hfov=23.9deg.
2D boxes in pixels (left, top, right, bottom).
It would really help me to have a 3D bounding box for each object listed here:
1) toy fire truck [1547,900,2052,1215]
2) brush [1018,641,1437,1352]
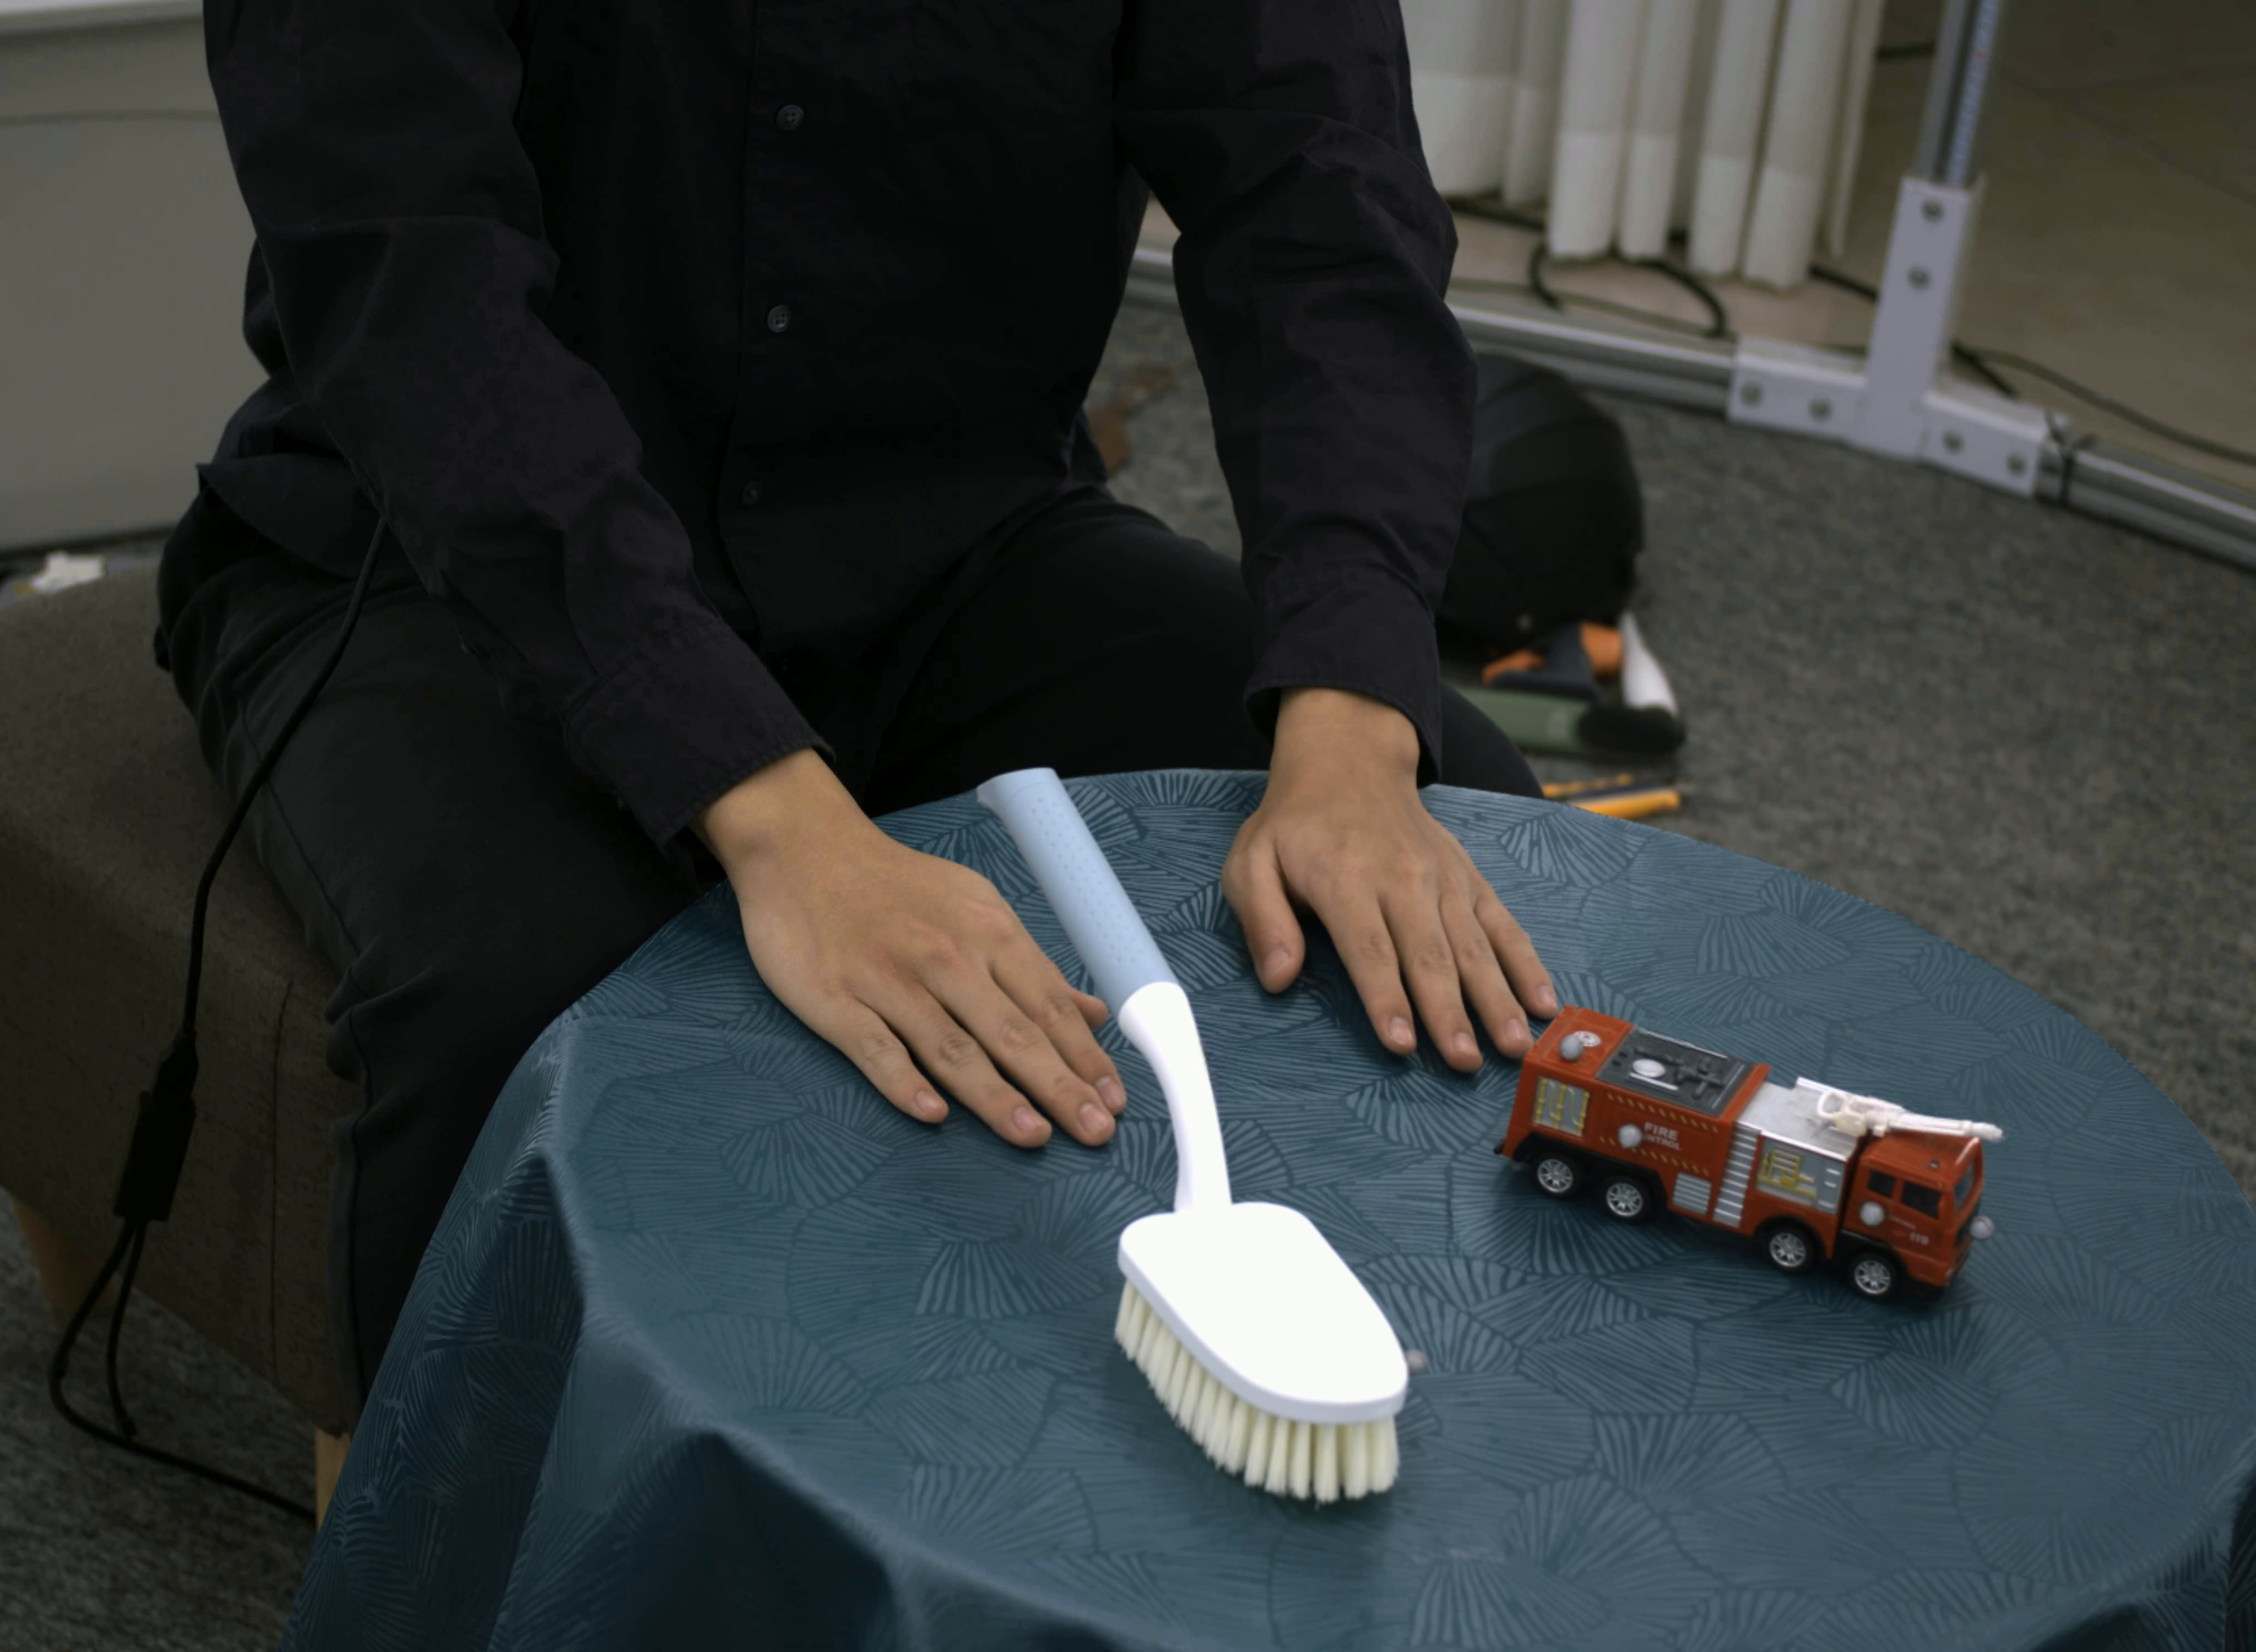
[{"bbox_3d":[0.230,0.077,1.823,0.168,0.070,0.054,15,27,19],"label":"toy fire truck"},{"bbox_3d":[0.026,0.064,1.778,0.082,0.084,0.328,33,19,-42],"label":"brush"}]
